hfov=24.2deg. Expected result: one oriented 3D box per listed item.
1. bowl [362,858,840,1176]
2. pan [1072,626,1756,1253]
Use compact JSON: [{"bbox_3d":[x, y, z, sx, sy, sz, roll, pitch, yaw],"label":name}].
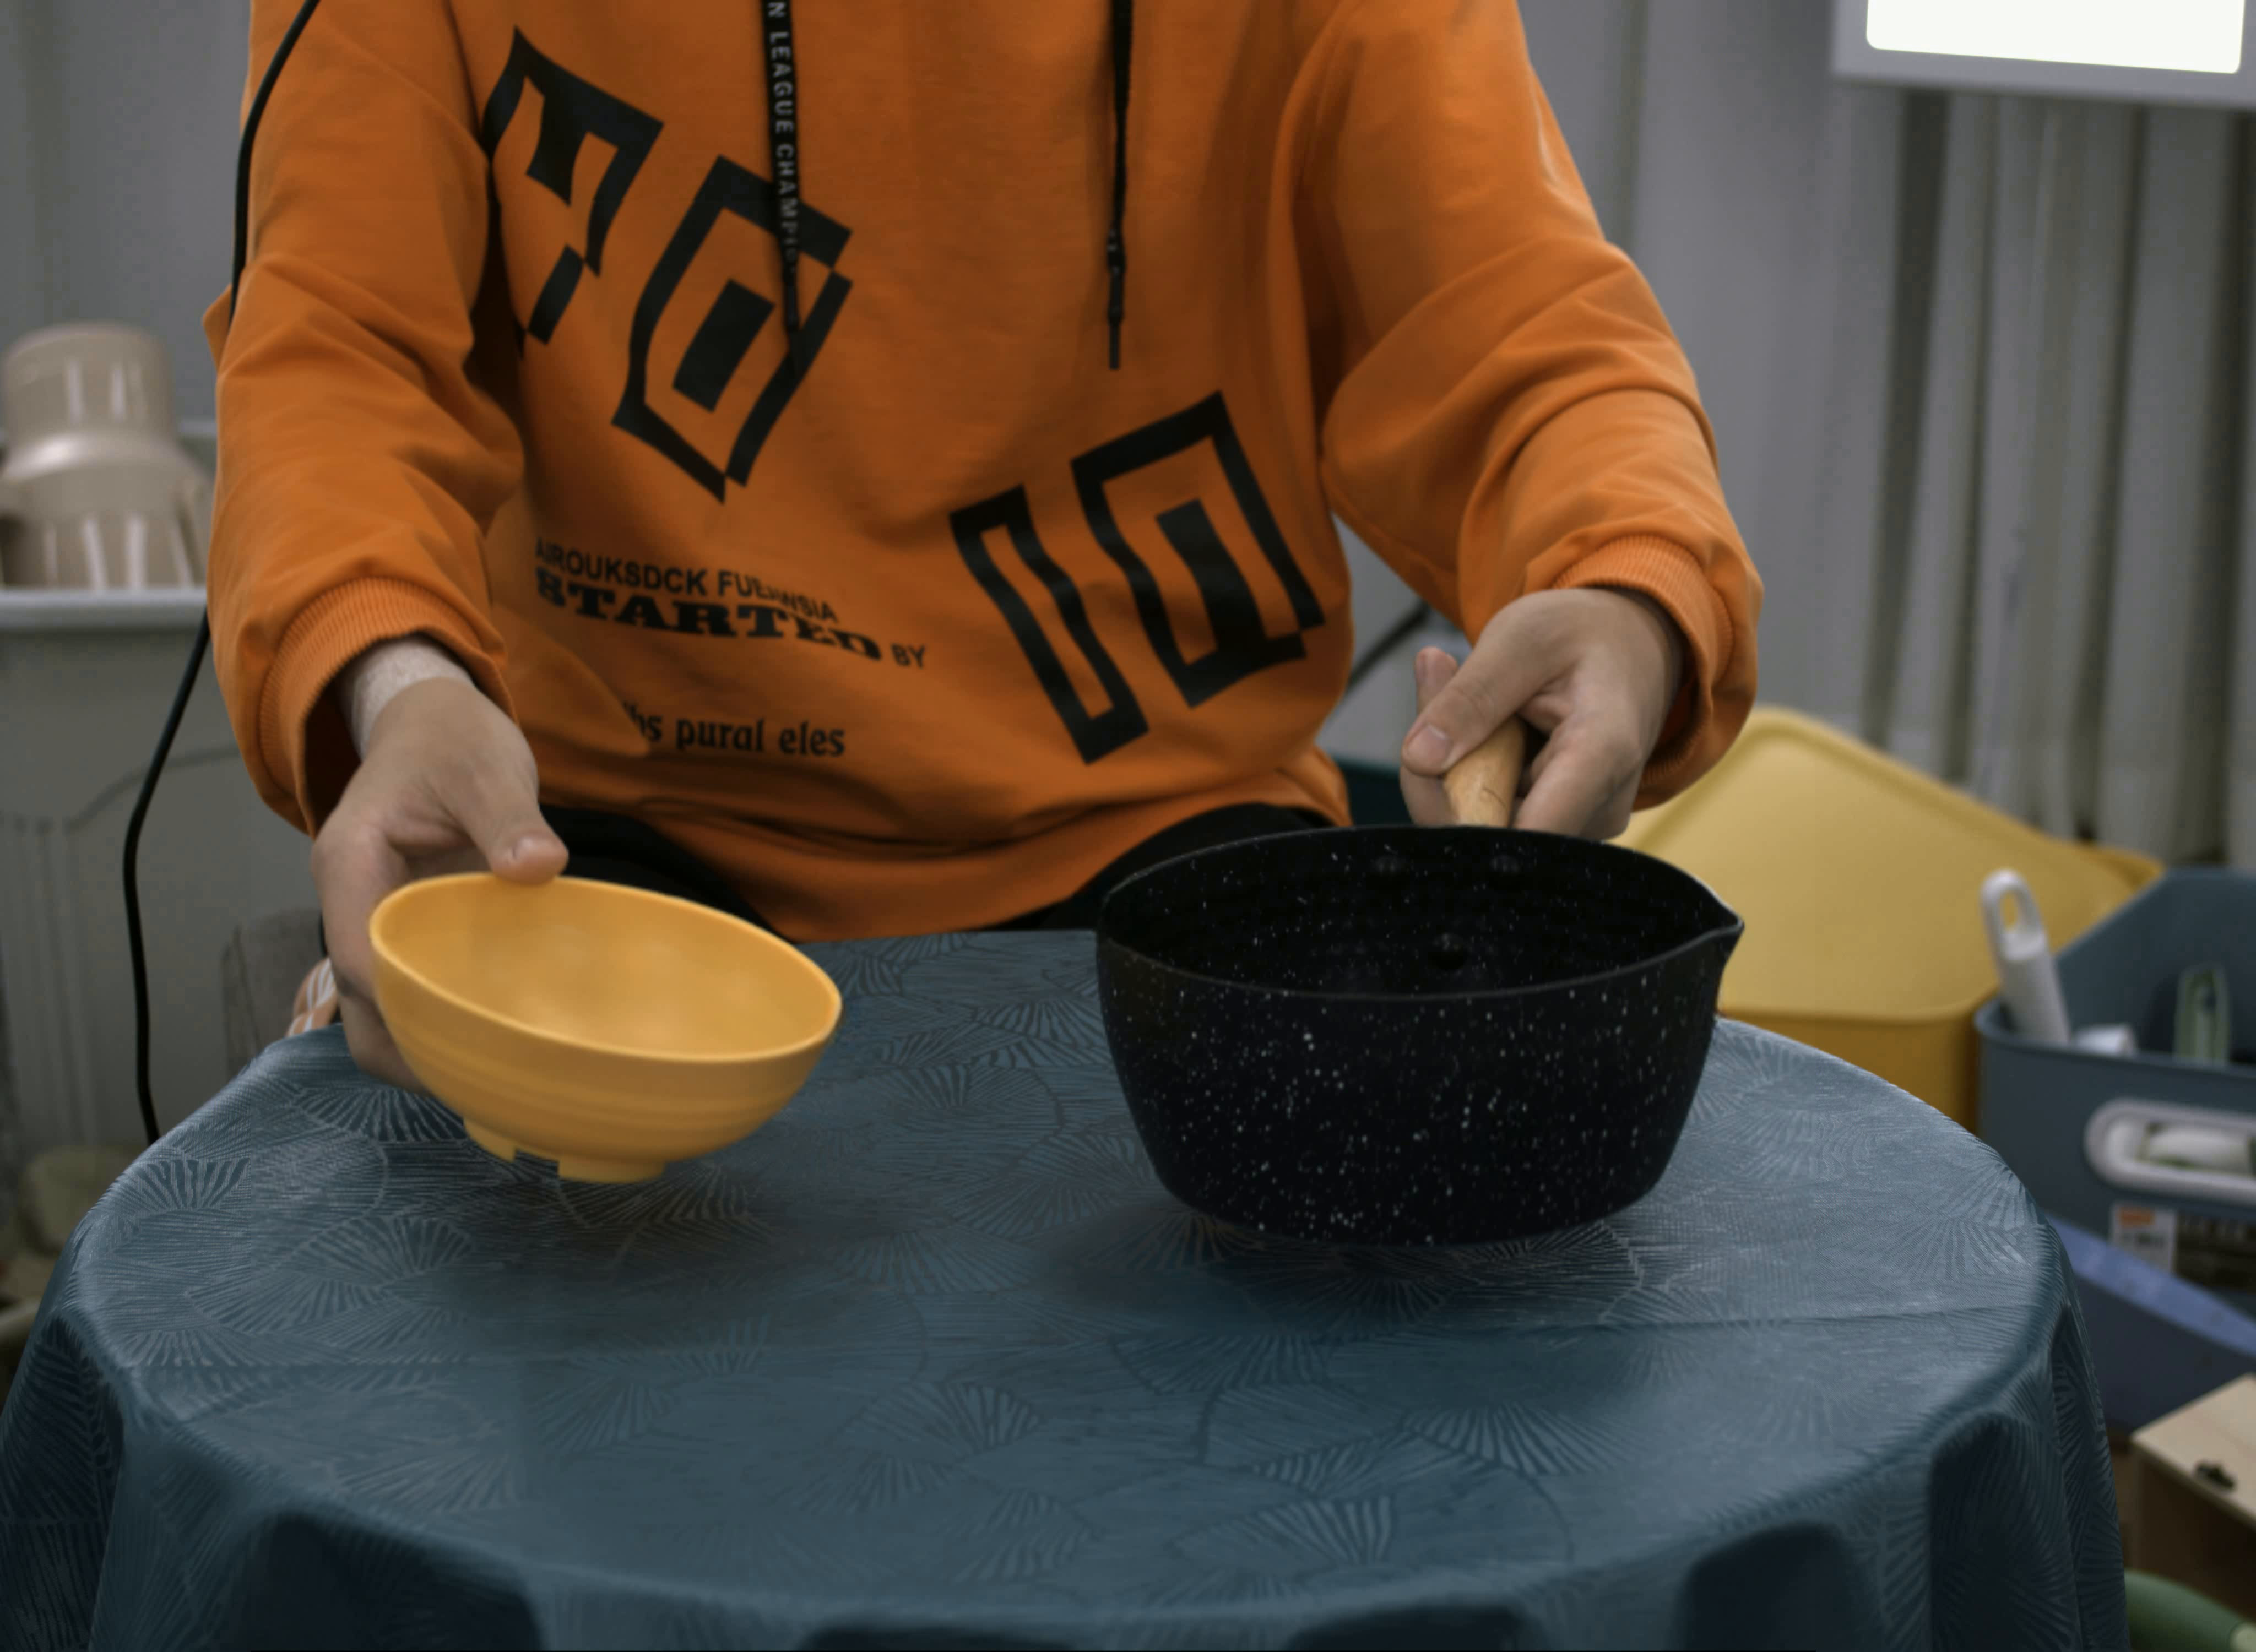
[{"bbox_3d":[-0.163,0.064,1.575,0.145,0.060,0.144,14,17,-4],"label":"bowl"},{"bbox_3d":[0.097,0.030,1.642,0.206,0.109,0.342,0,16,10],"label":"pan"}]
